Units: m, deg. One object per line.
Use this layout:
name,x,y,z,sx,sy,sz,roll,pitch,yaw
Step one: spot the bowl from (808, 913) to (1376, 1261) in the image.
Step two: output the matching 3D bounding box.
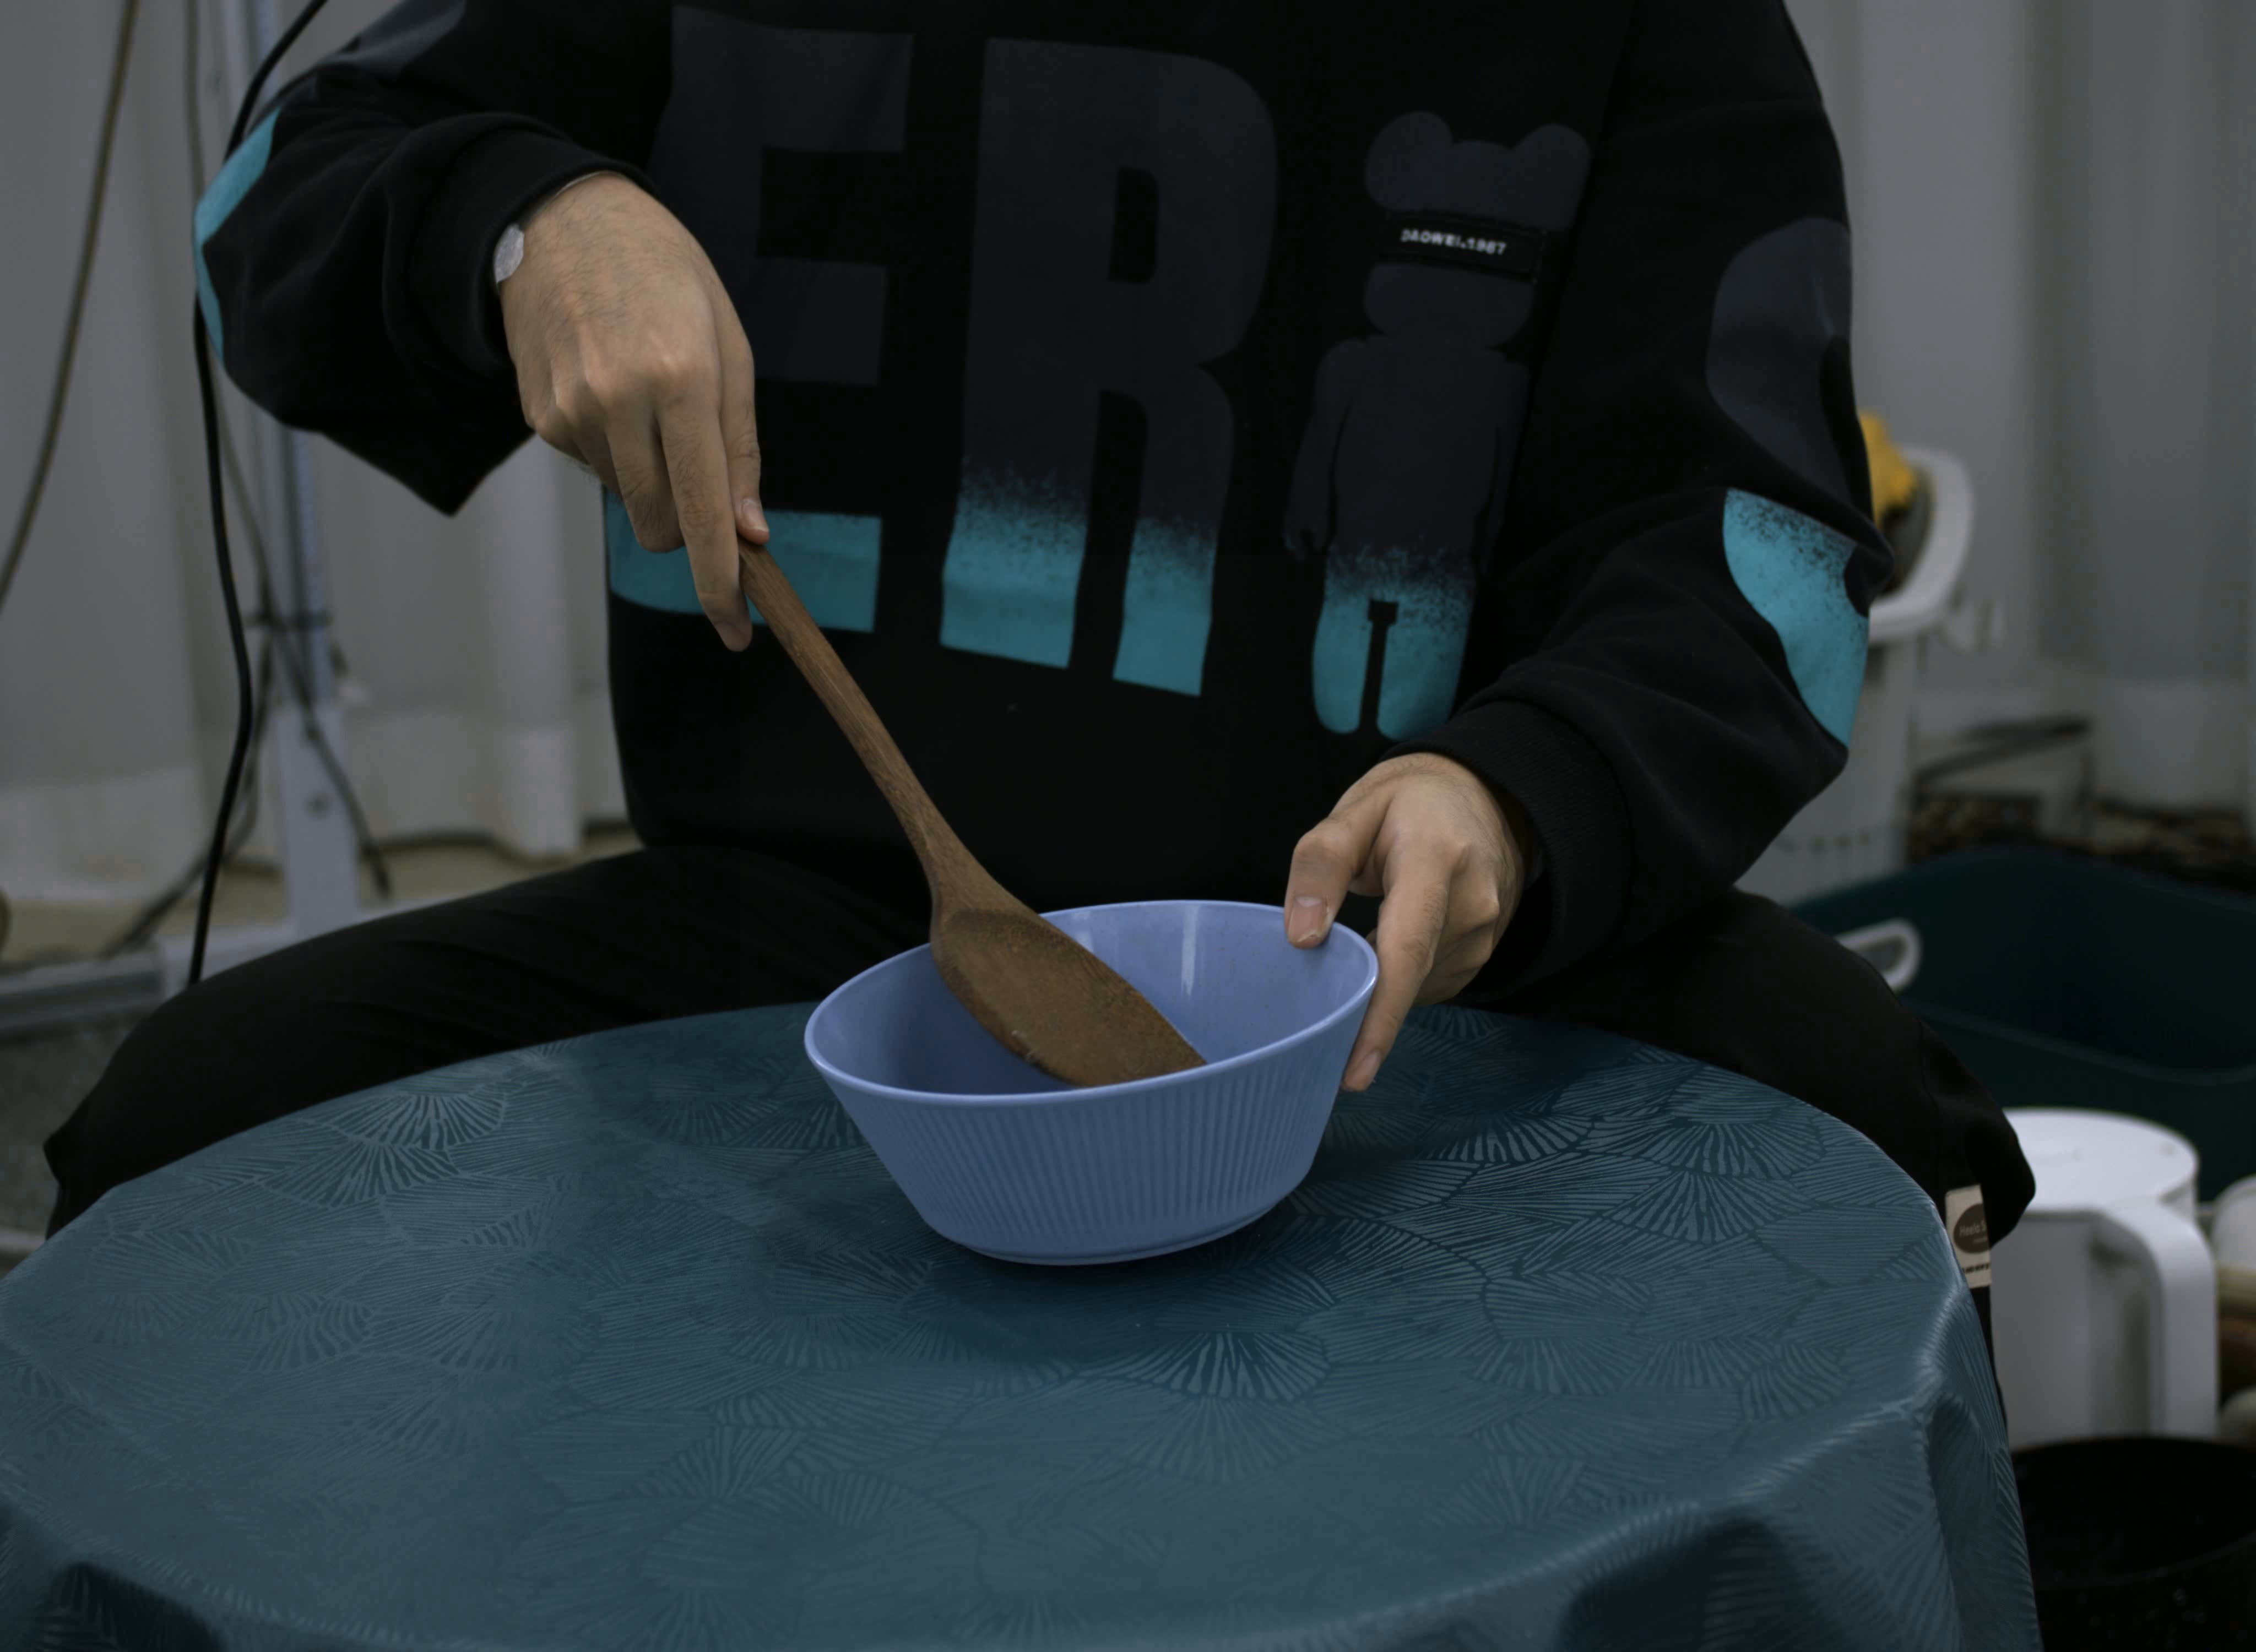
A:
bowl,-0.008,0.083,1.671,0.175,0.070,0.177,-6,15,1

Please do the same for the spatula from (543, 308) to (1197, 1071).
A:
spatula,-0.094,-0.045,1.768,0.095,0.016,0.391,11,35,-50
